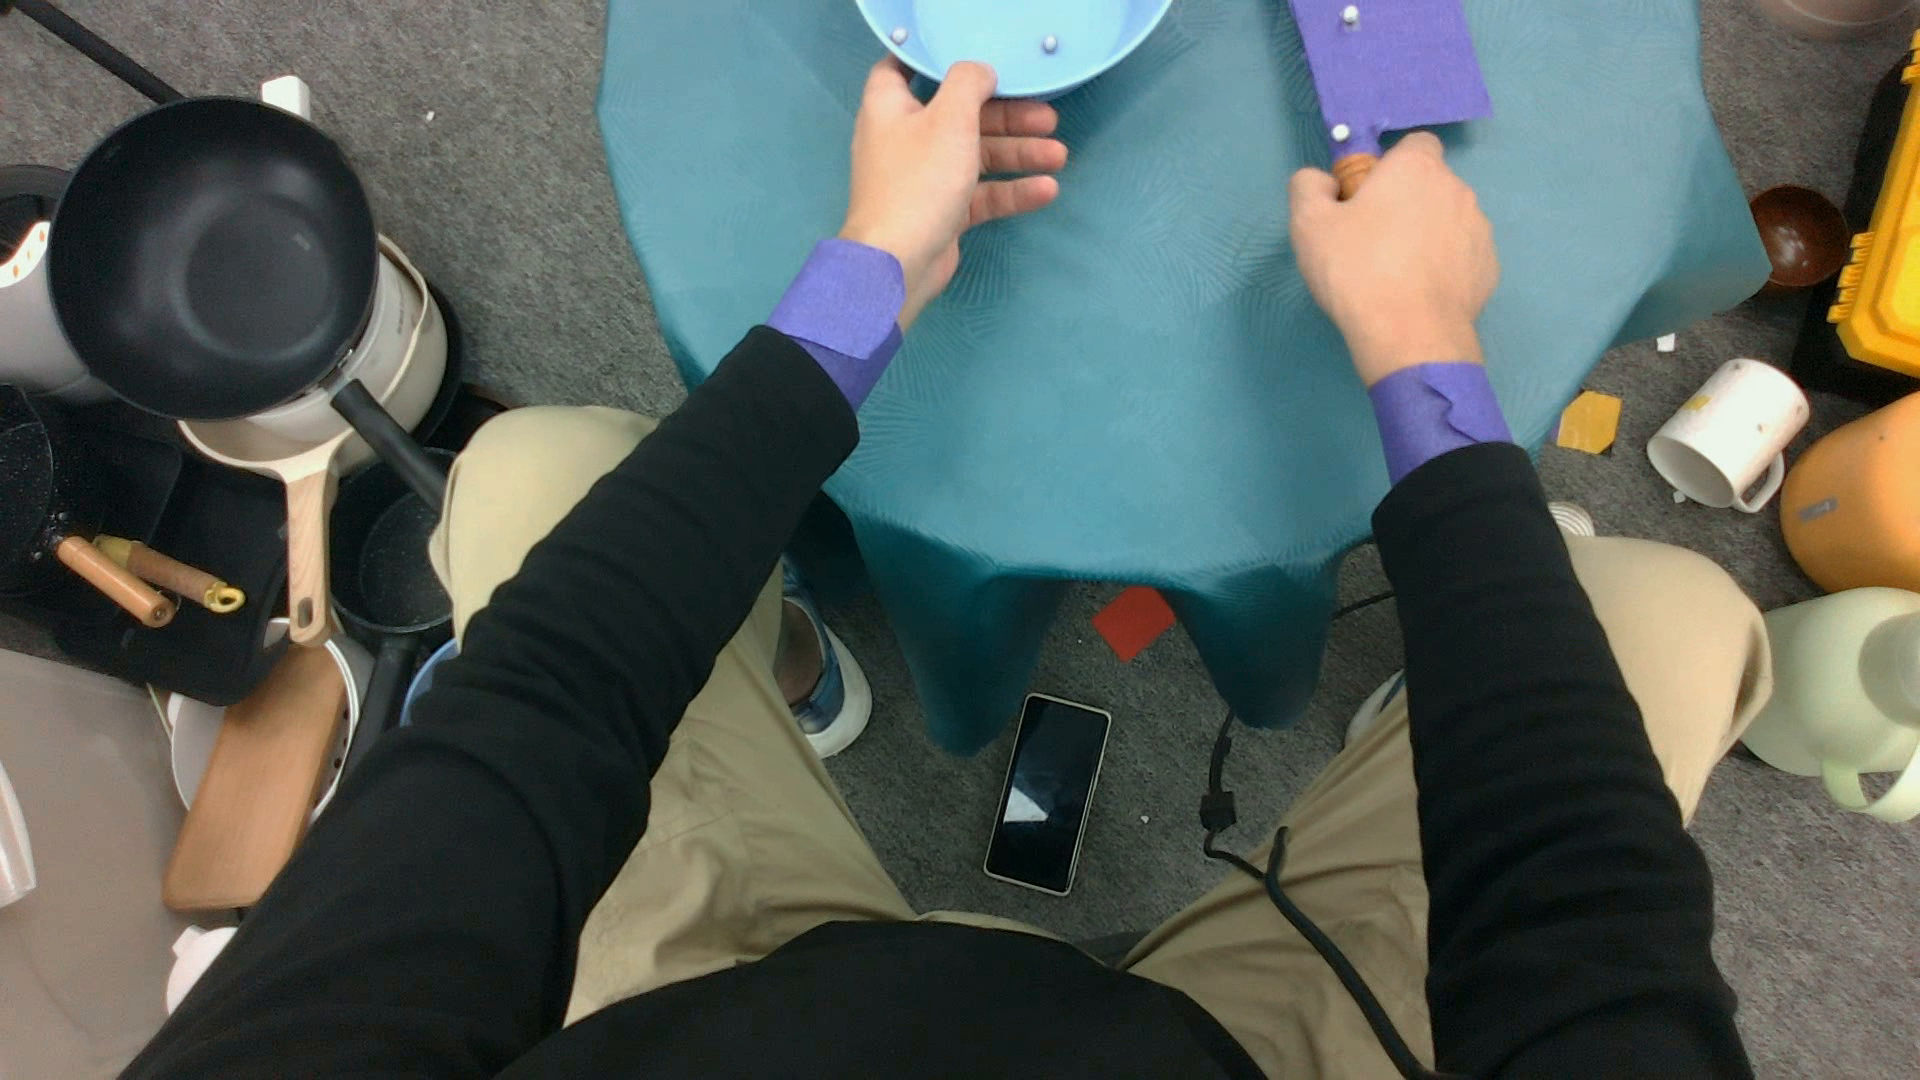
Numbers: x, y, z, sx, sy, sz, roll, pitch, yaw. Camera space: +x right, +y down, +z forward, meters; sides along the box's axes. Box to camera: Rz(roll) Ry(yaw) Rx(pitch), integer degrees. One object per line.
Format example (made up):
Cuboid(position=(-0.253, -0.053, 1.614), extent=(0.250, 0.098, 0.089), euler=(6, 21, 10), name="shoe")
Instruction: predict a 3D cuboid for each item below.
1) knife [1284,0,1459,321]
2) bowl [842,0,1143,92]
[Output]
Cuboid(position=(0.211, -0.266, 0.720), extent=(0.104, 0.032, 0.316), euler=(-7, 77, -17), name="knife")
Cuboid(position=(0.020, -0.309, 0.735), extent=(0.176, 0.070, 0.176), euler=(-1, 80, 4), name="bowl")
